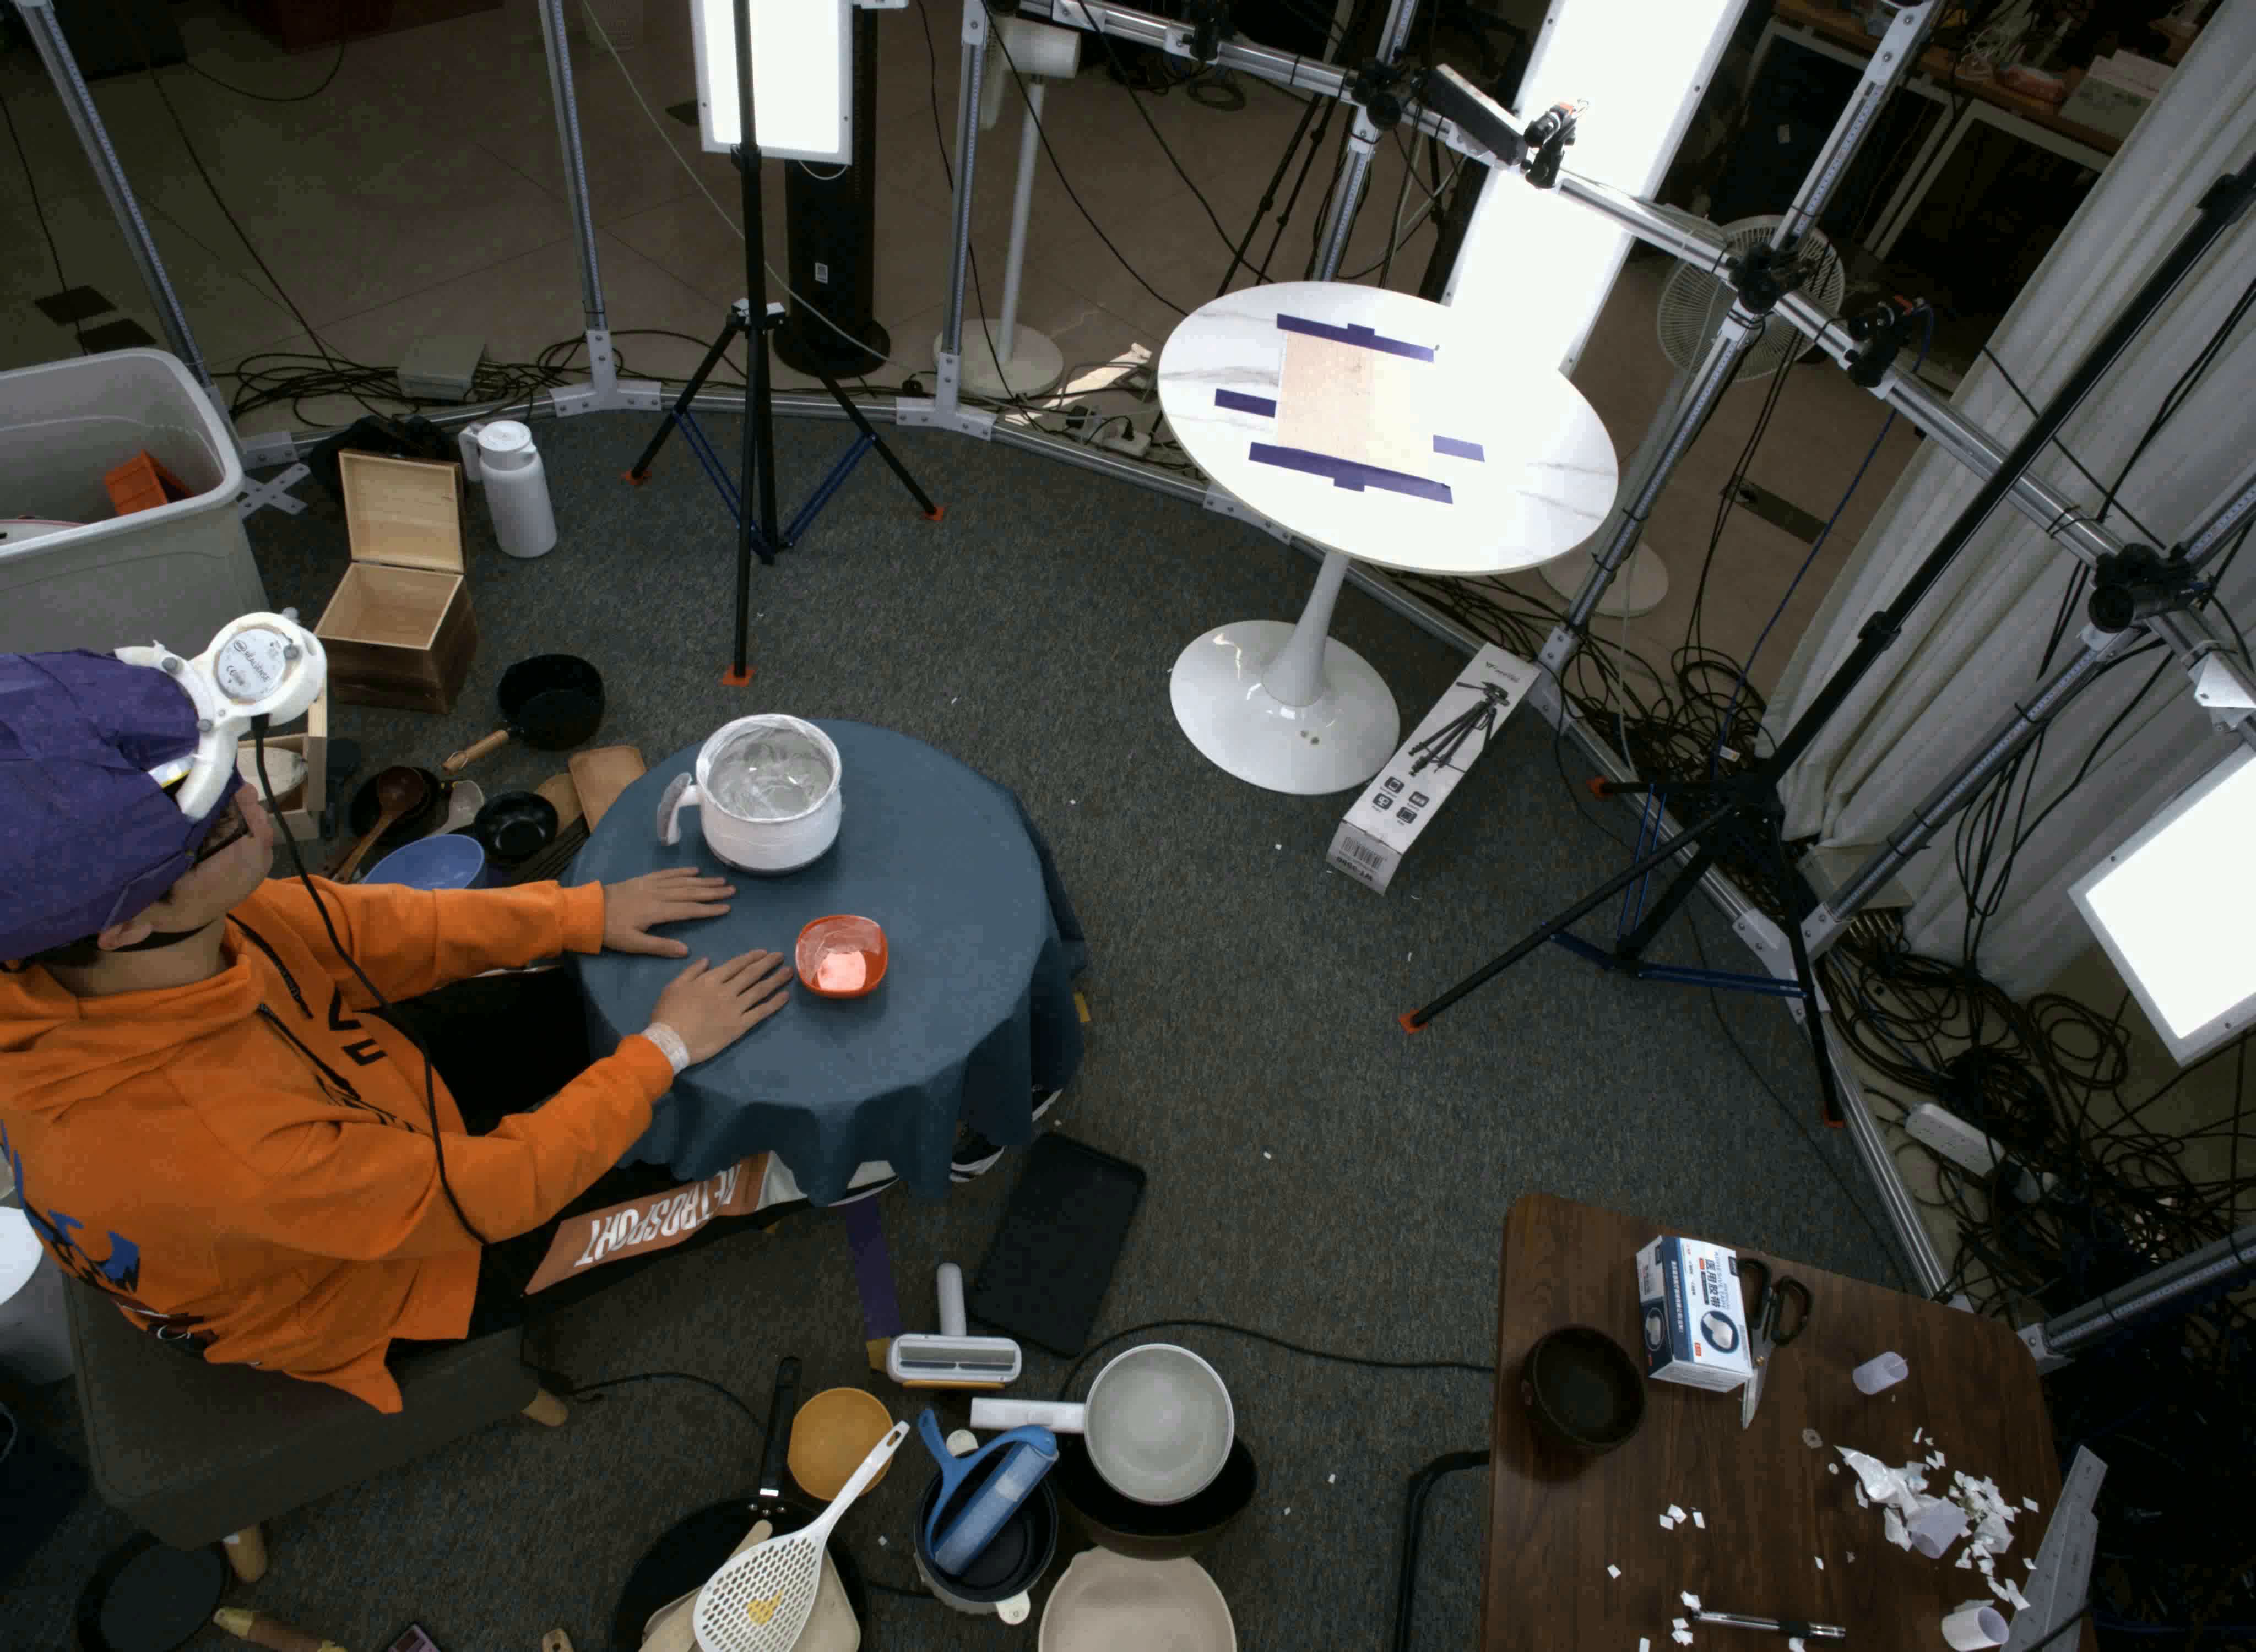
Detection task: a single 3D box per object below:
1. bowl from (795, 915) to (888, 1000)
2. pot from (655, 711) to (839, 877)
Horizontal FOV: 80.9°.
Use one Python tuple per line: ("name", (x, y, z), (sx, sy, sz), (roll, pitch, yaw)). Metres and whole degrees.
("bowl", (-0.348, 0.166, 1.576), (0.119, 0.052, 0.117), (9, 53, -10))
("pot", (-0.482, -0.032, 1.633), (0.235, 0.139, 0.174), (-11, 56, -22))
